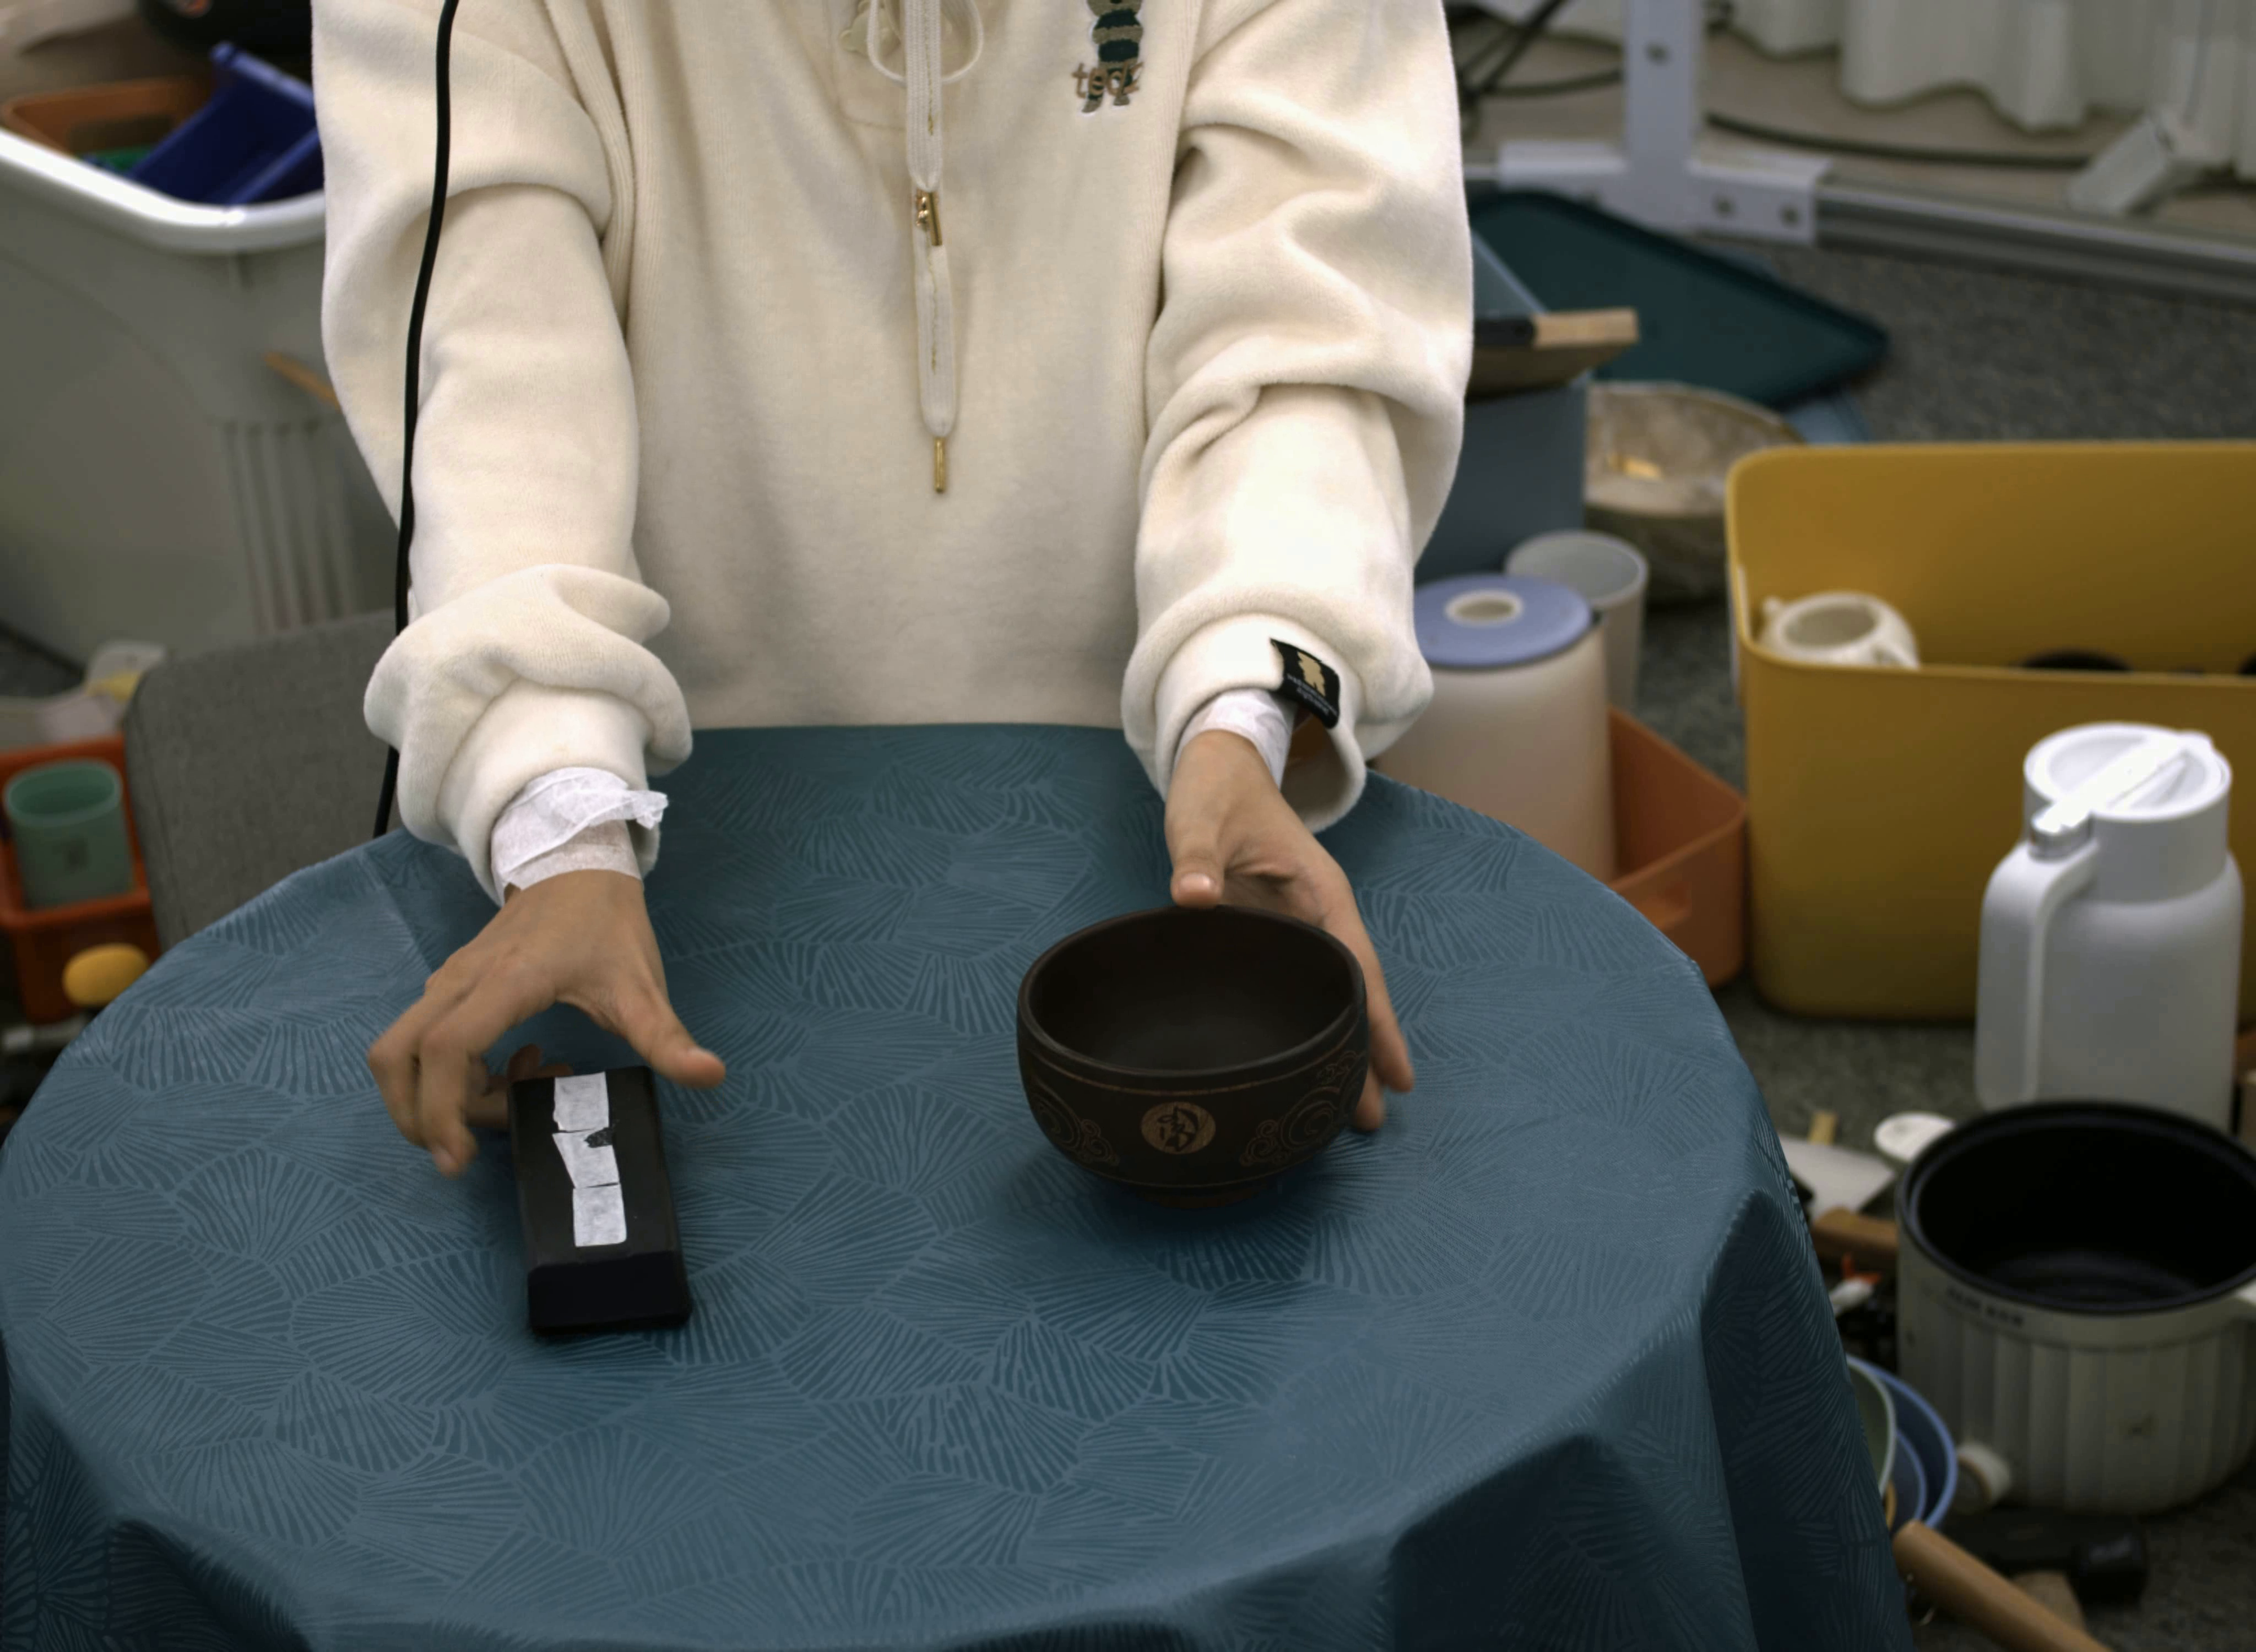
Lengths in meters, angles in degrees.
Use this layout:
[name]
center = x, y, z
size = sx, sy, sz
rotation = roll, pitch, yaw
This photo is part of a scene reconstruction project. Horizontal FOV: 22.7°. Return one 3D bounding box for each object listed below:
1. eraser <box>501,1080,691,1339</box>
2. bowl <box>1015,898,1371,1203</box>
[eraser]
center = -0.175, 0.125, 1.843
size = 0.053, 0.030, 0.127
rotation = -6, 25, -8
[bowl]
center = 0.022, 0.081, 1.860
size = 0.117, 0.069, 0.120
rotation = -3, 26, 2
